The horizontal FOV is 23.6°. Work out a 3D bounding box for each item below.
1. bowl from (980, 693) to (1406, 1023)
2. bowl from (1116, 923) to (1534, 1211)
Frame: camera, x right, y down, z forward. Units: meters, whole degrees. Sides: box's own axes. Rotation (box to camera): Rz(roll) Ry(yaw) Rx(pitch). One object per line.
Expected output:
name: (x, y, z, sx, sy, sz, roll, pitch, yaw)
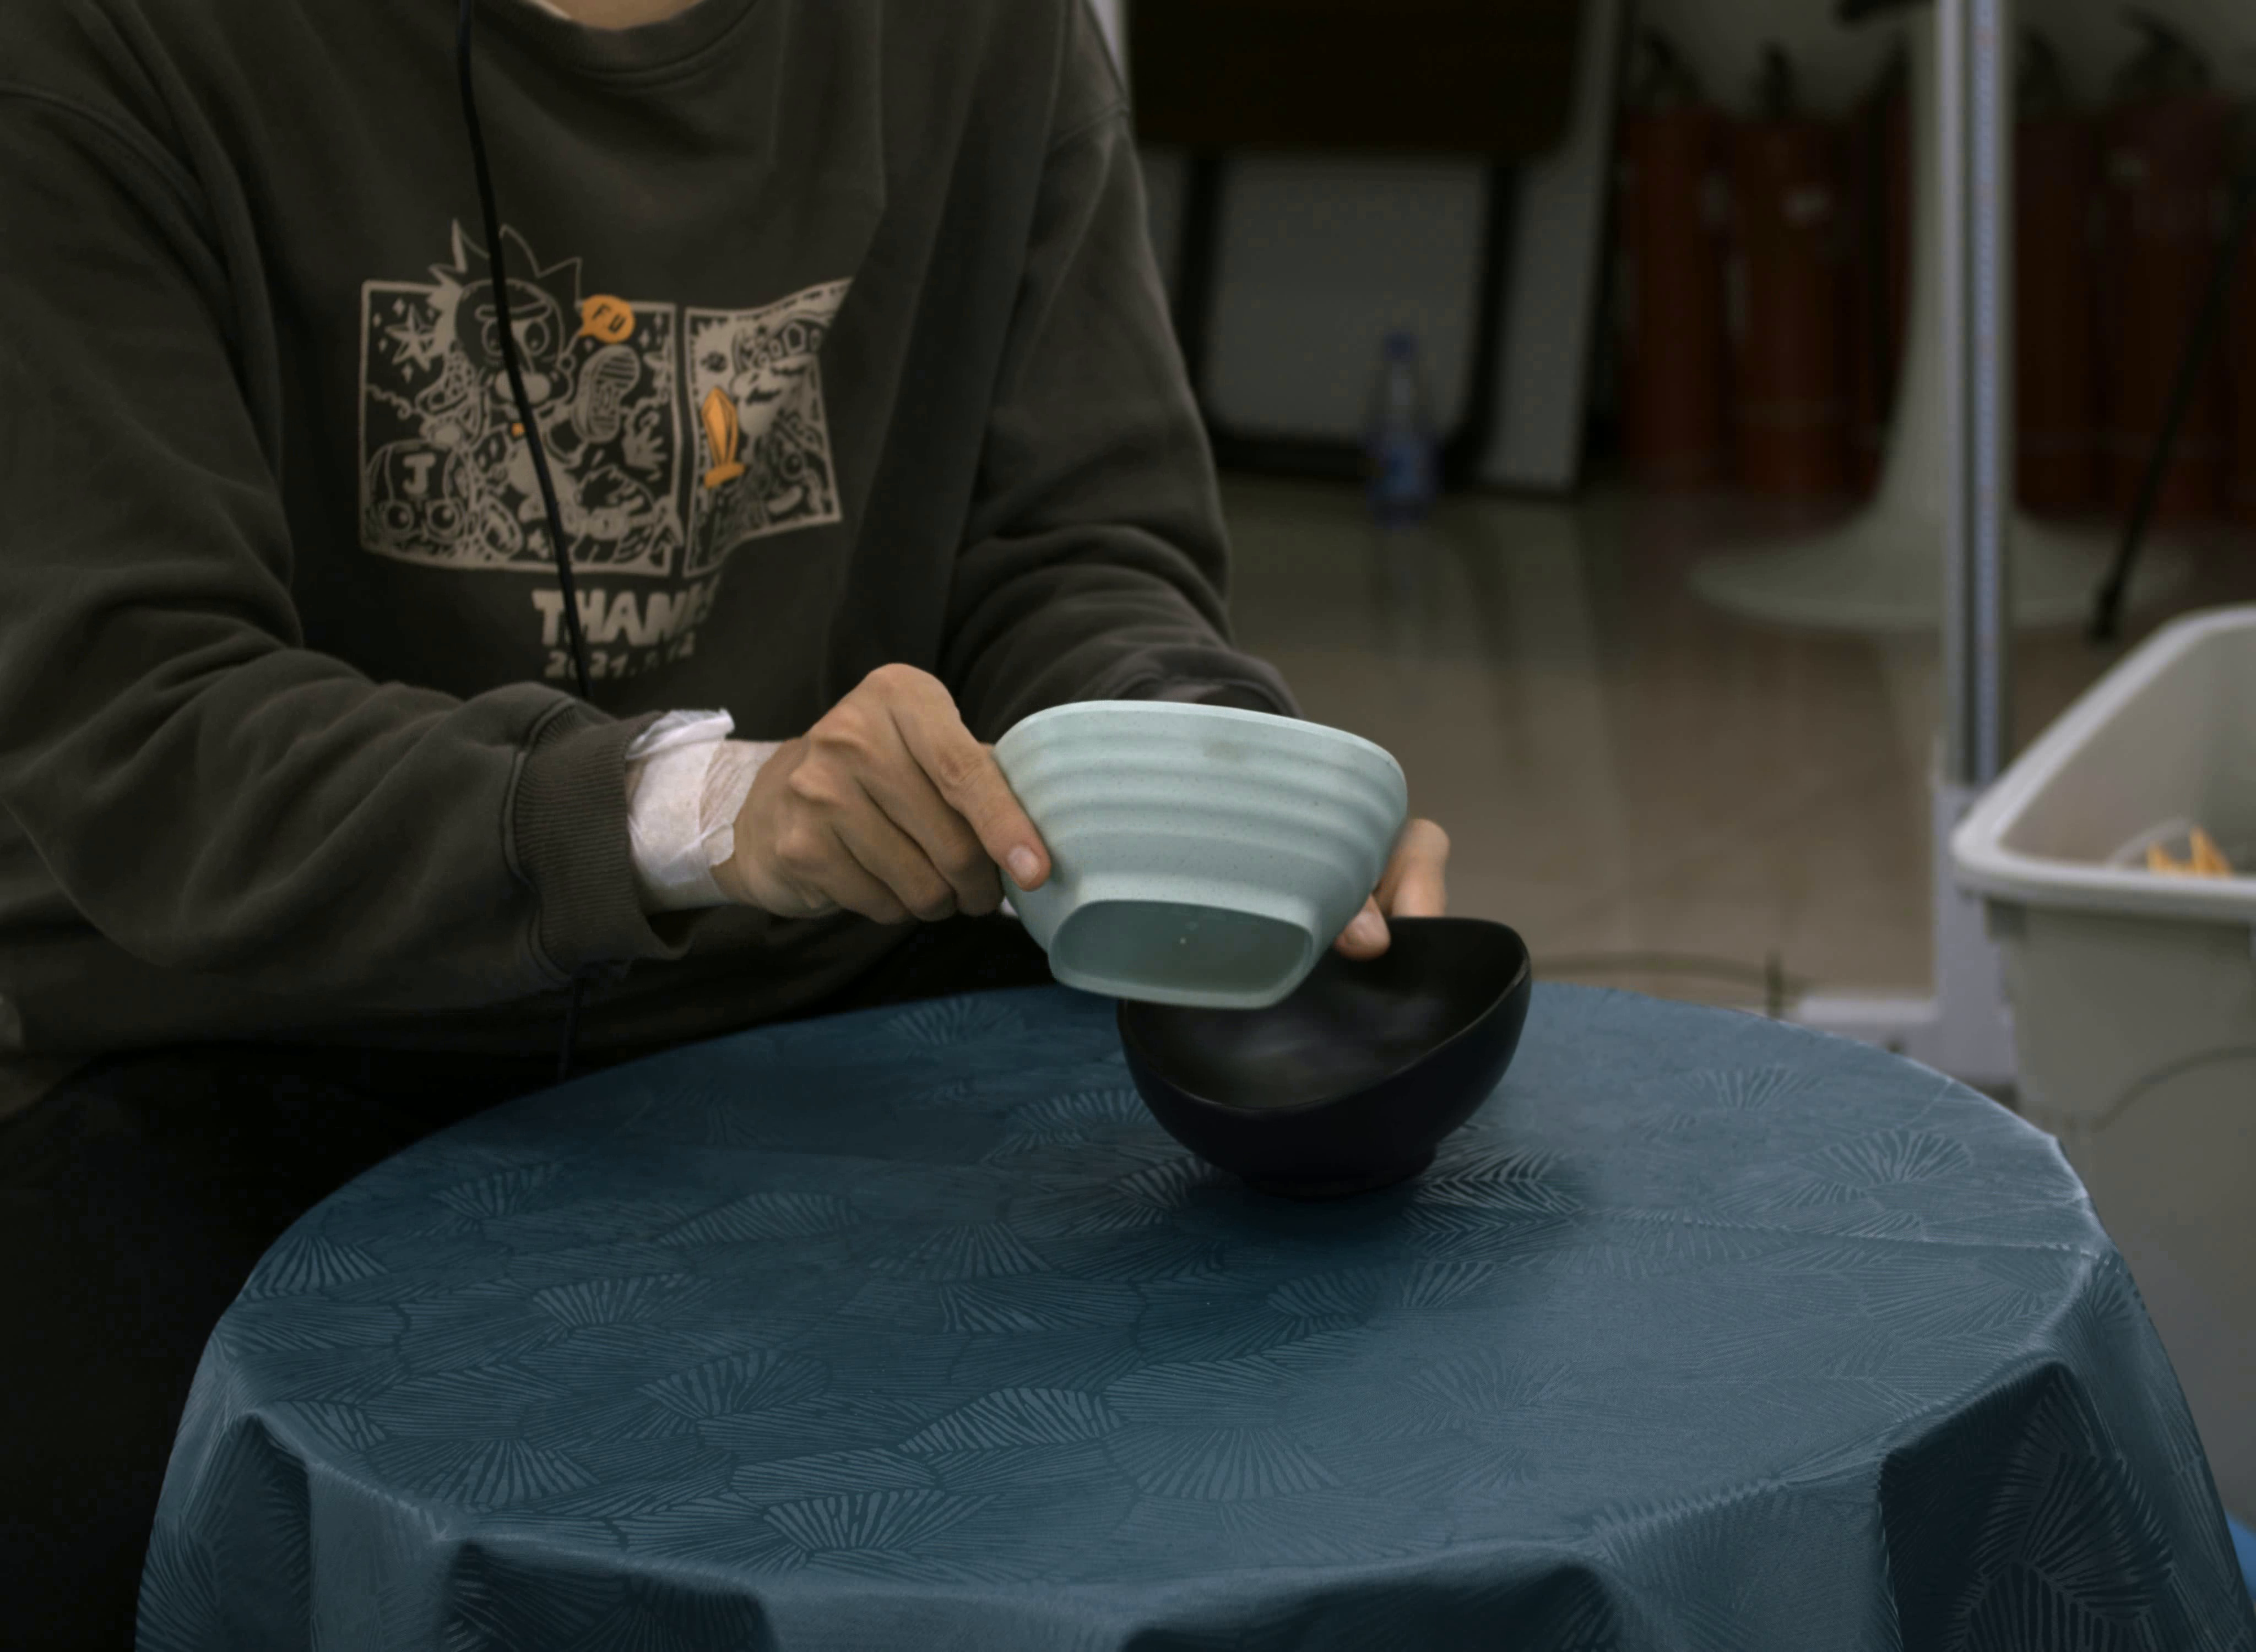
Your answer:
bowl: (0.018, 0.017, 1.727, 0.150, 0.059, 0.151, 8, -26, 3)
bowl: (0.067, 0.083, 1.760, 0.137, 0.067, 0.169, -4, 16, 15)
